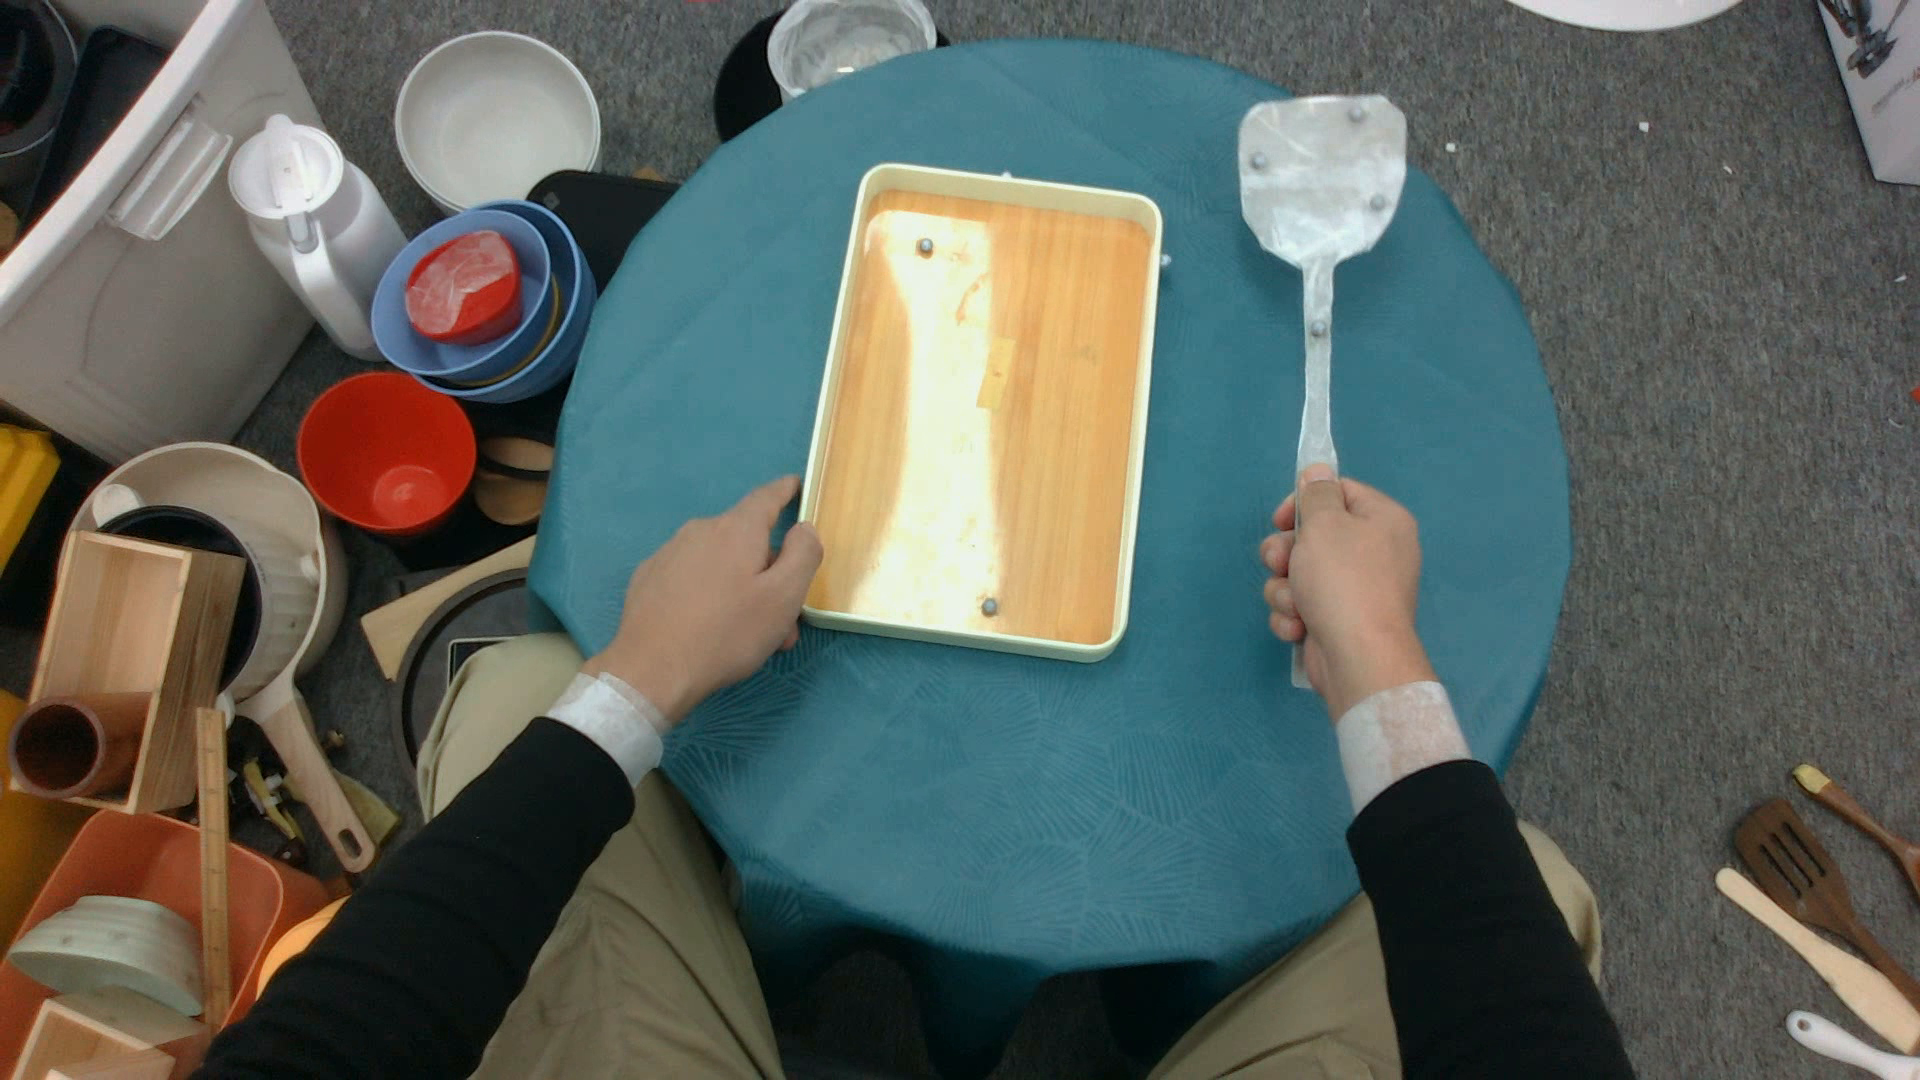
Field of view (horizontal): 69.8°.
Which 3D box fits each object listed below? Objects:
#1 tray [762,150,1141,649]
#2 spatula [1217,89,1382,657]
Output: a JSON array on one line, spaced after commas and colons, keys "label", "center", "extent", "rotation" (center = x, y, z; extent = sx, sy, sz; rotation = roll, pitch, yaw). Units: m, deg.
[{"label": "tray", "center": [0.001, -0.091, 0.814], "extent": [0.191, 0.027, 0.301], "rotation": [8, 69, 0]}, {"label": "spatula", "center": [0.187, -0.108, 0.776], "extent": [0.098, 0.044, 0.366], "rotation": [4, 61, 9]}]
